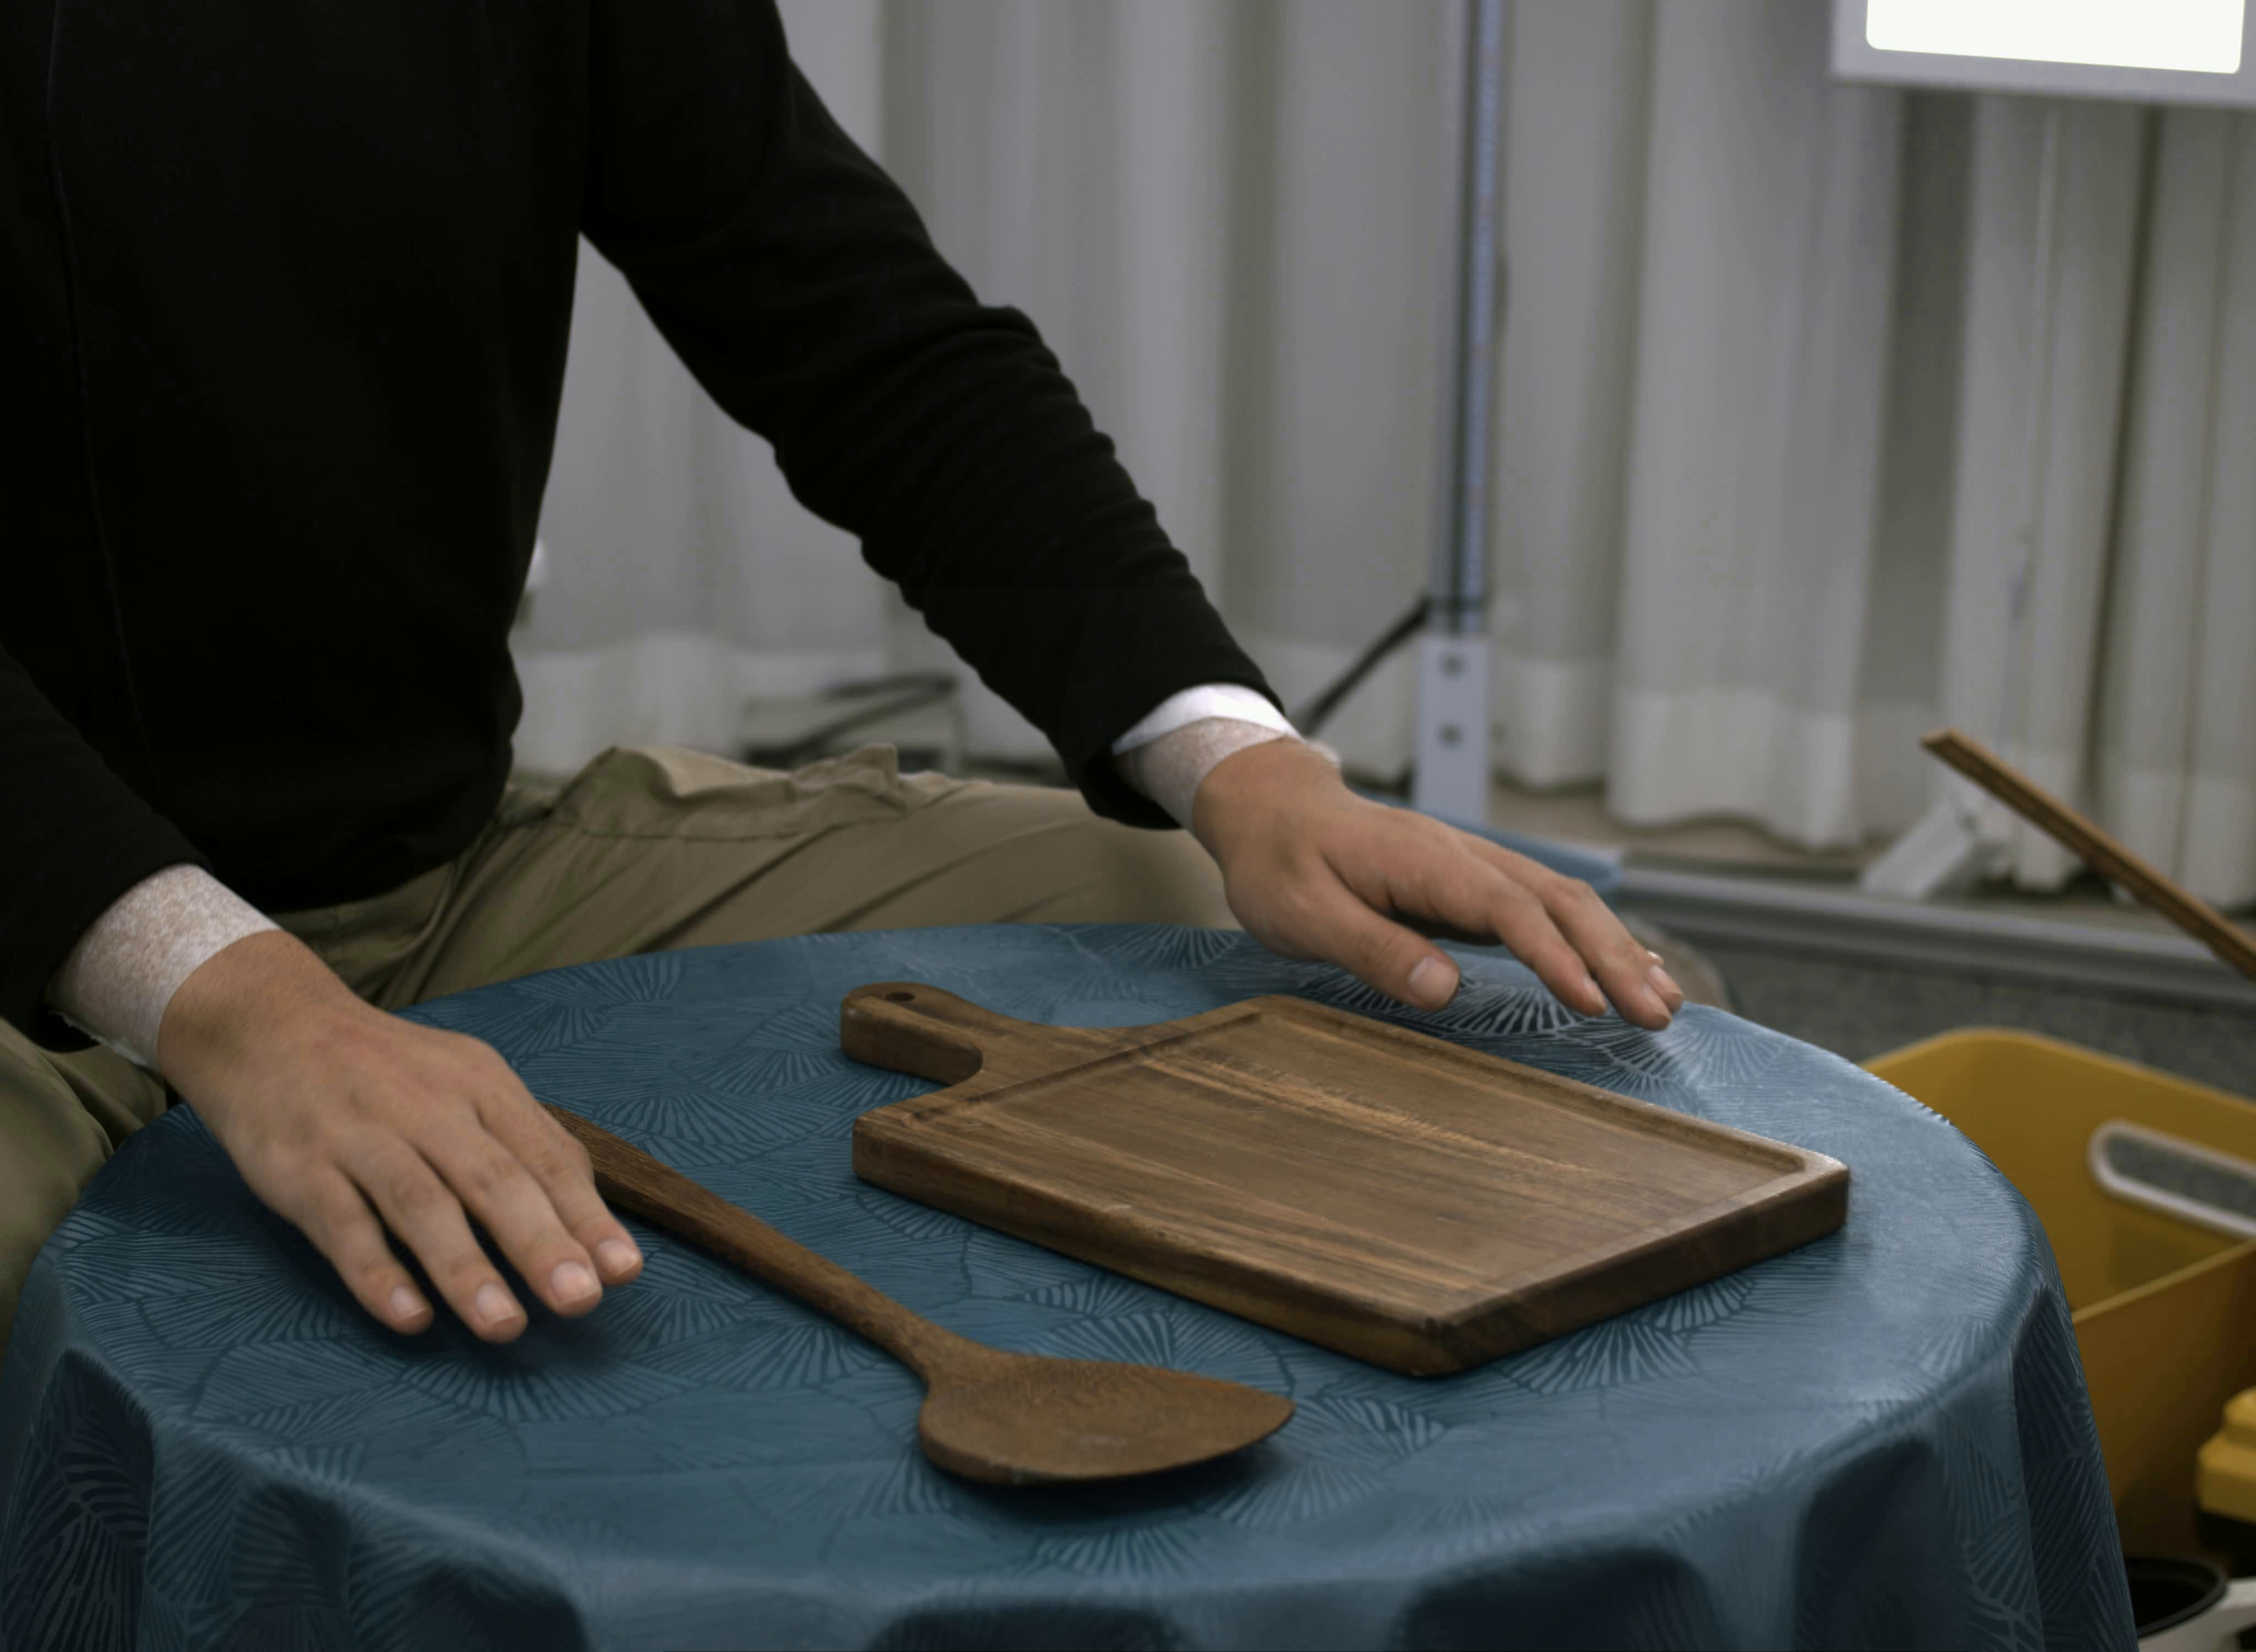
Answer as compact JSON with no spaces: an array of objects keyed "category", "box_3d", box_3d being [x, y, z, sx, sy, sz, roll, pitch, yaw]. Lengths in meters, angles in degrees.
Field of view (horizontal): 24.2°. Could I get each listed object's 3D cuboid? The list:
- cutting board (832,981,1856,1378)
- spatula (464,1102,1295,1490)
[{"category":"cutting board","box_3d":[0.033,0.095,1.645,0.347,0.023,0.202,15,21,43]},{"category":"spatula","box_3d":[-0.095,0.130,1.527,0.096,0.016,0.381,-10,18,-35]}]
